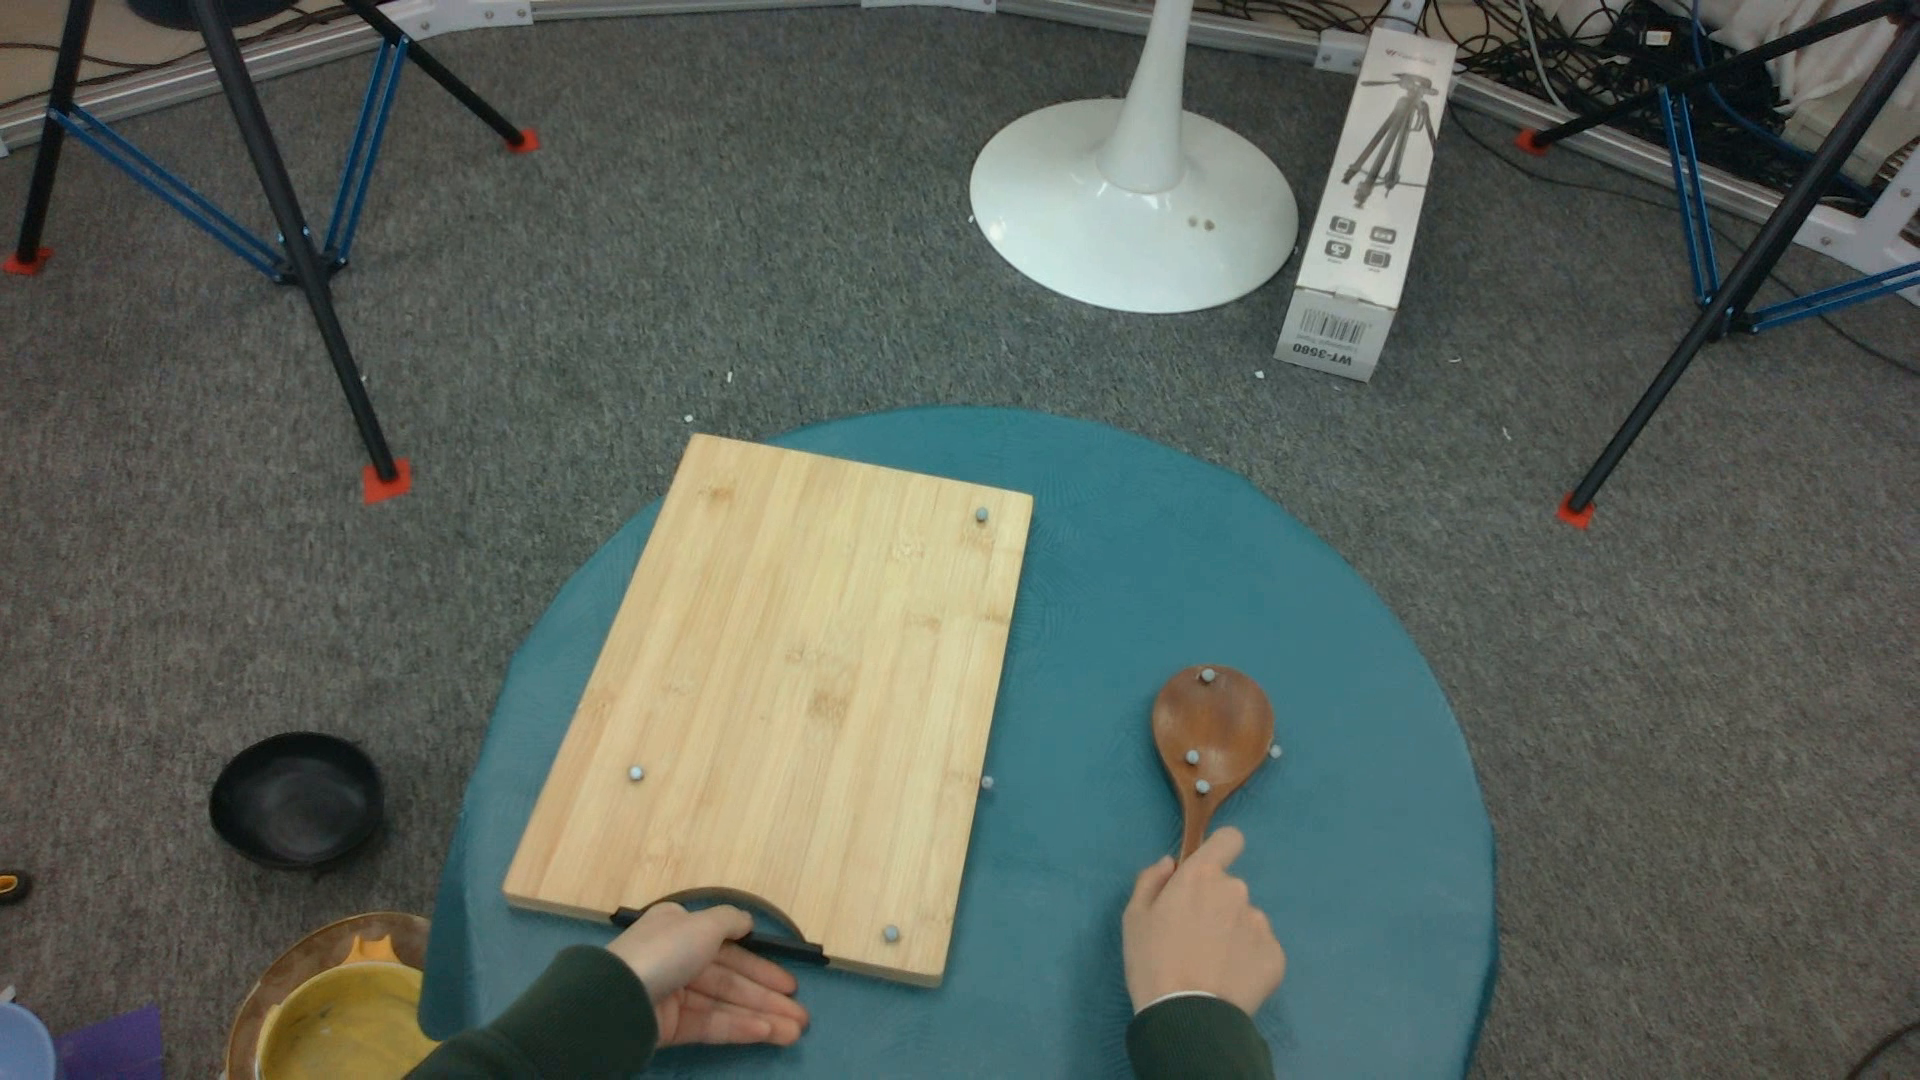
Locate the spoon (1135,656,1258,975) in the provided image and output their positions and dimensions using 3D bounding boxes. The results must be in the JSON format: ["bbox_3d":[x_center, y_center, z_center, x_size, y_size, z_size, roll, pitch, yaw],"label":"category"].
[{"bbox_3d":[0.129,0.152,0.796,0.075,0.017,0.217,12,46,7],"label":"spoon"}]

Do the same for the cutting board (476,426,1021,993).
[{"bbox_3d":[-0.108,0.082,0.835,0.250,0.023,0.350,10,52,2],"label":"cutting board"}]
